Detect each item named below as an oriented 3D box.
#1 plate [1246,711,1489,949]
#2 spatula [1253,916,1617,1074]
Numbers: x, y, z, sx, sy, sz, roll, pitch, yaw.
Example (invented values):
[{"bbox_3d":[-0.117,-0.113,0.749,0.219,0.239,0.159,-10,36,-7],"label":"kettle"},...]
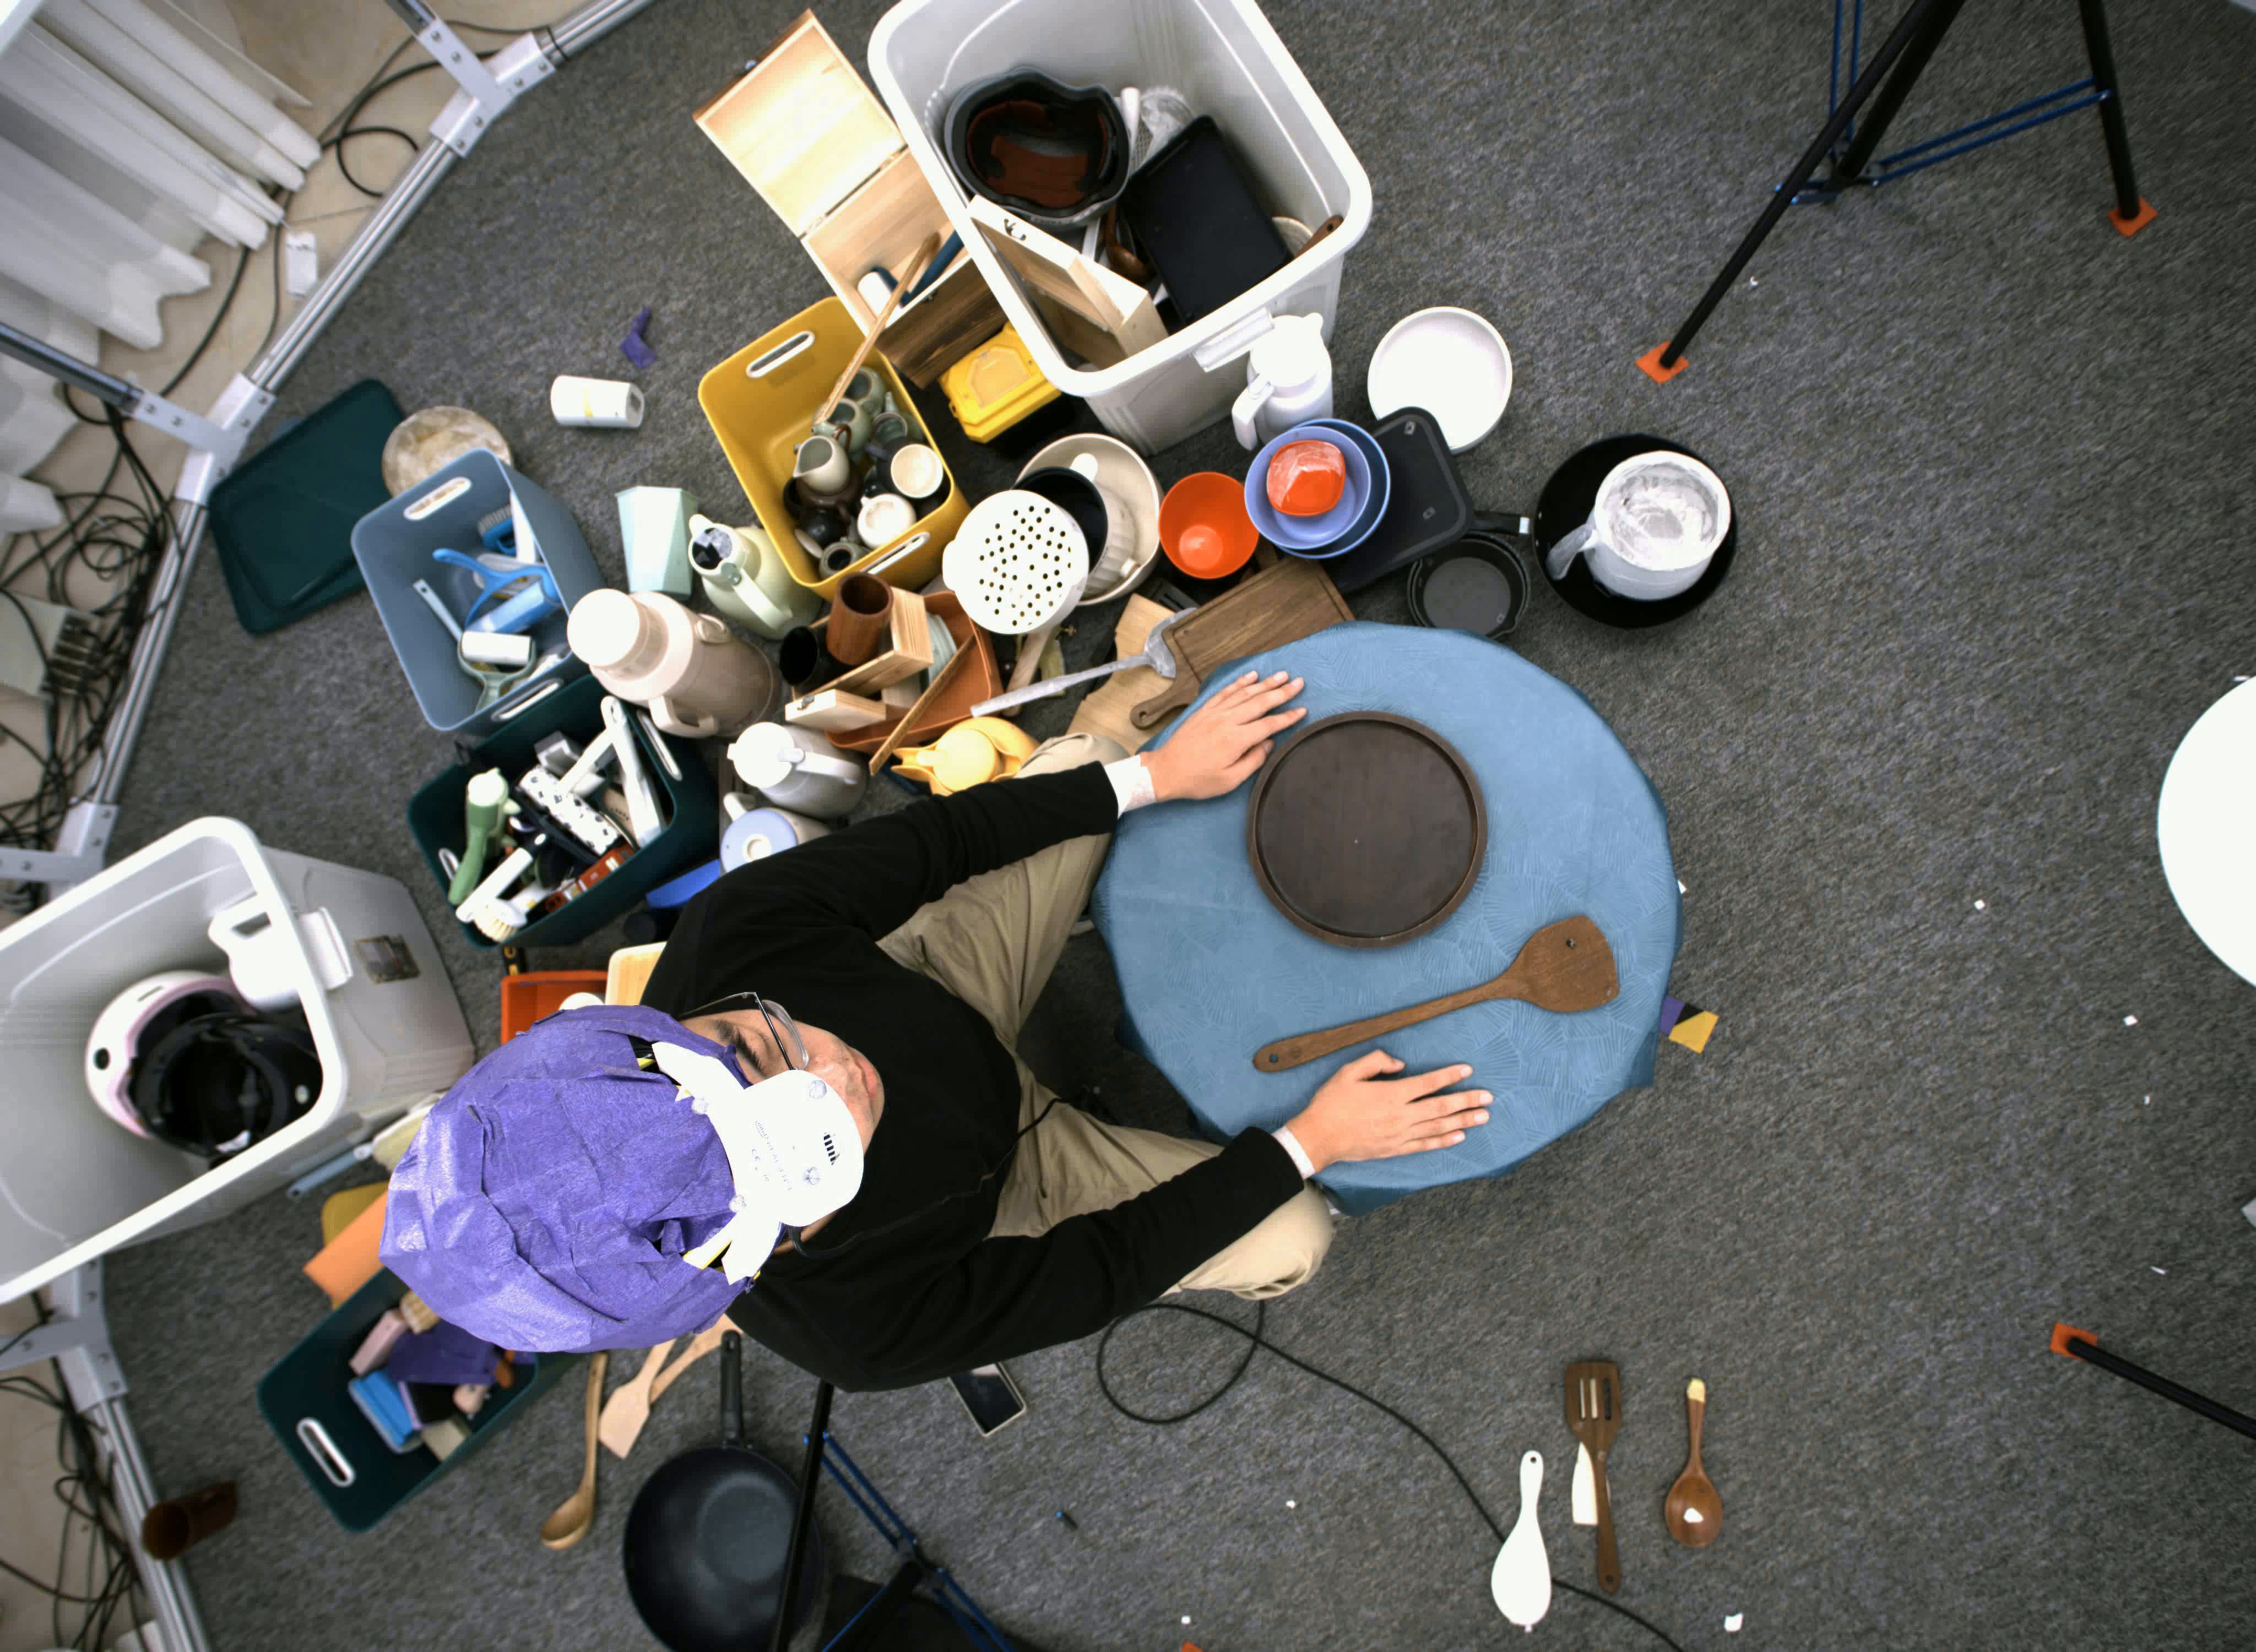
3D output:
[{"bbox_3d":[0.251,0.003,1.455,0.256,0.029,0.254,-1,88,10],"label":"plate"},{"bbox_3d":[0.314,0.190,1.438,0.388,0.016,0.095,-19,83,9],"label":"spatula"}]
